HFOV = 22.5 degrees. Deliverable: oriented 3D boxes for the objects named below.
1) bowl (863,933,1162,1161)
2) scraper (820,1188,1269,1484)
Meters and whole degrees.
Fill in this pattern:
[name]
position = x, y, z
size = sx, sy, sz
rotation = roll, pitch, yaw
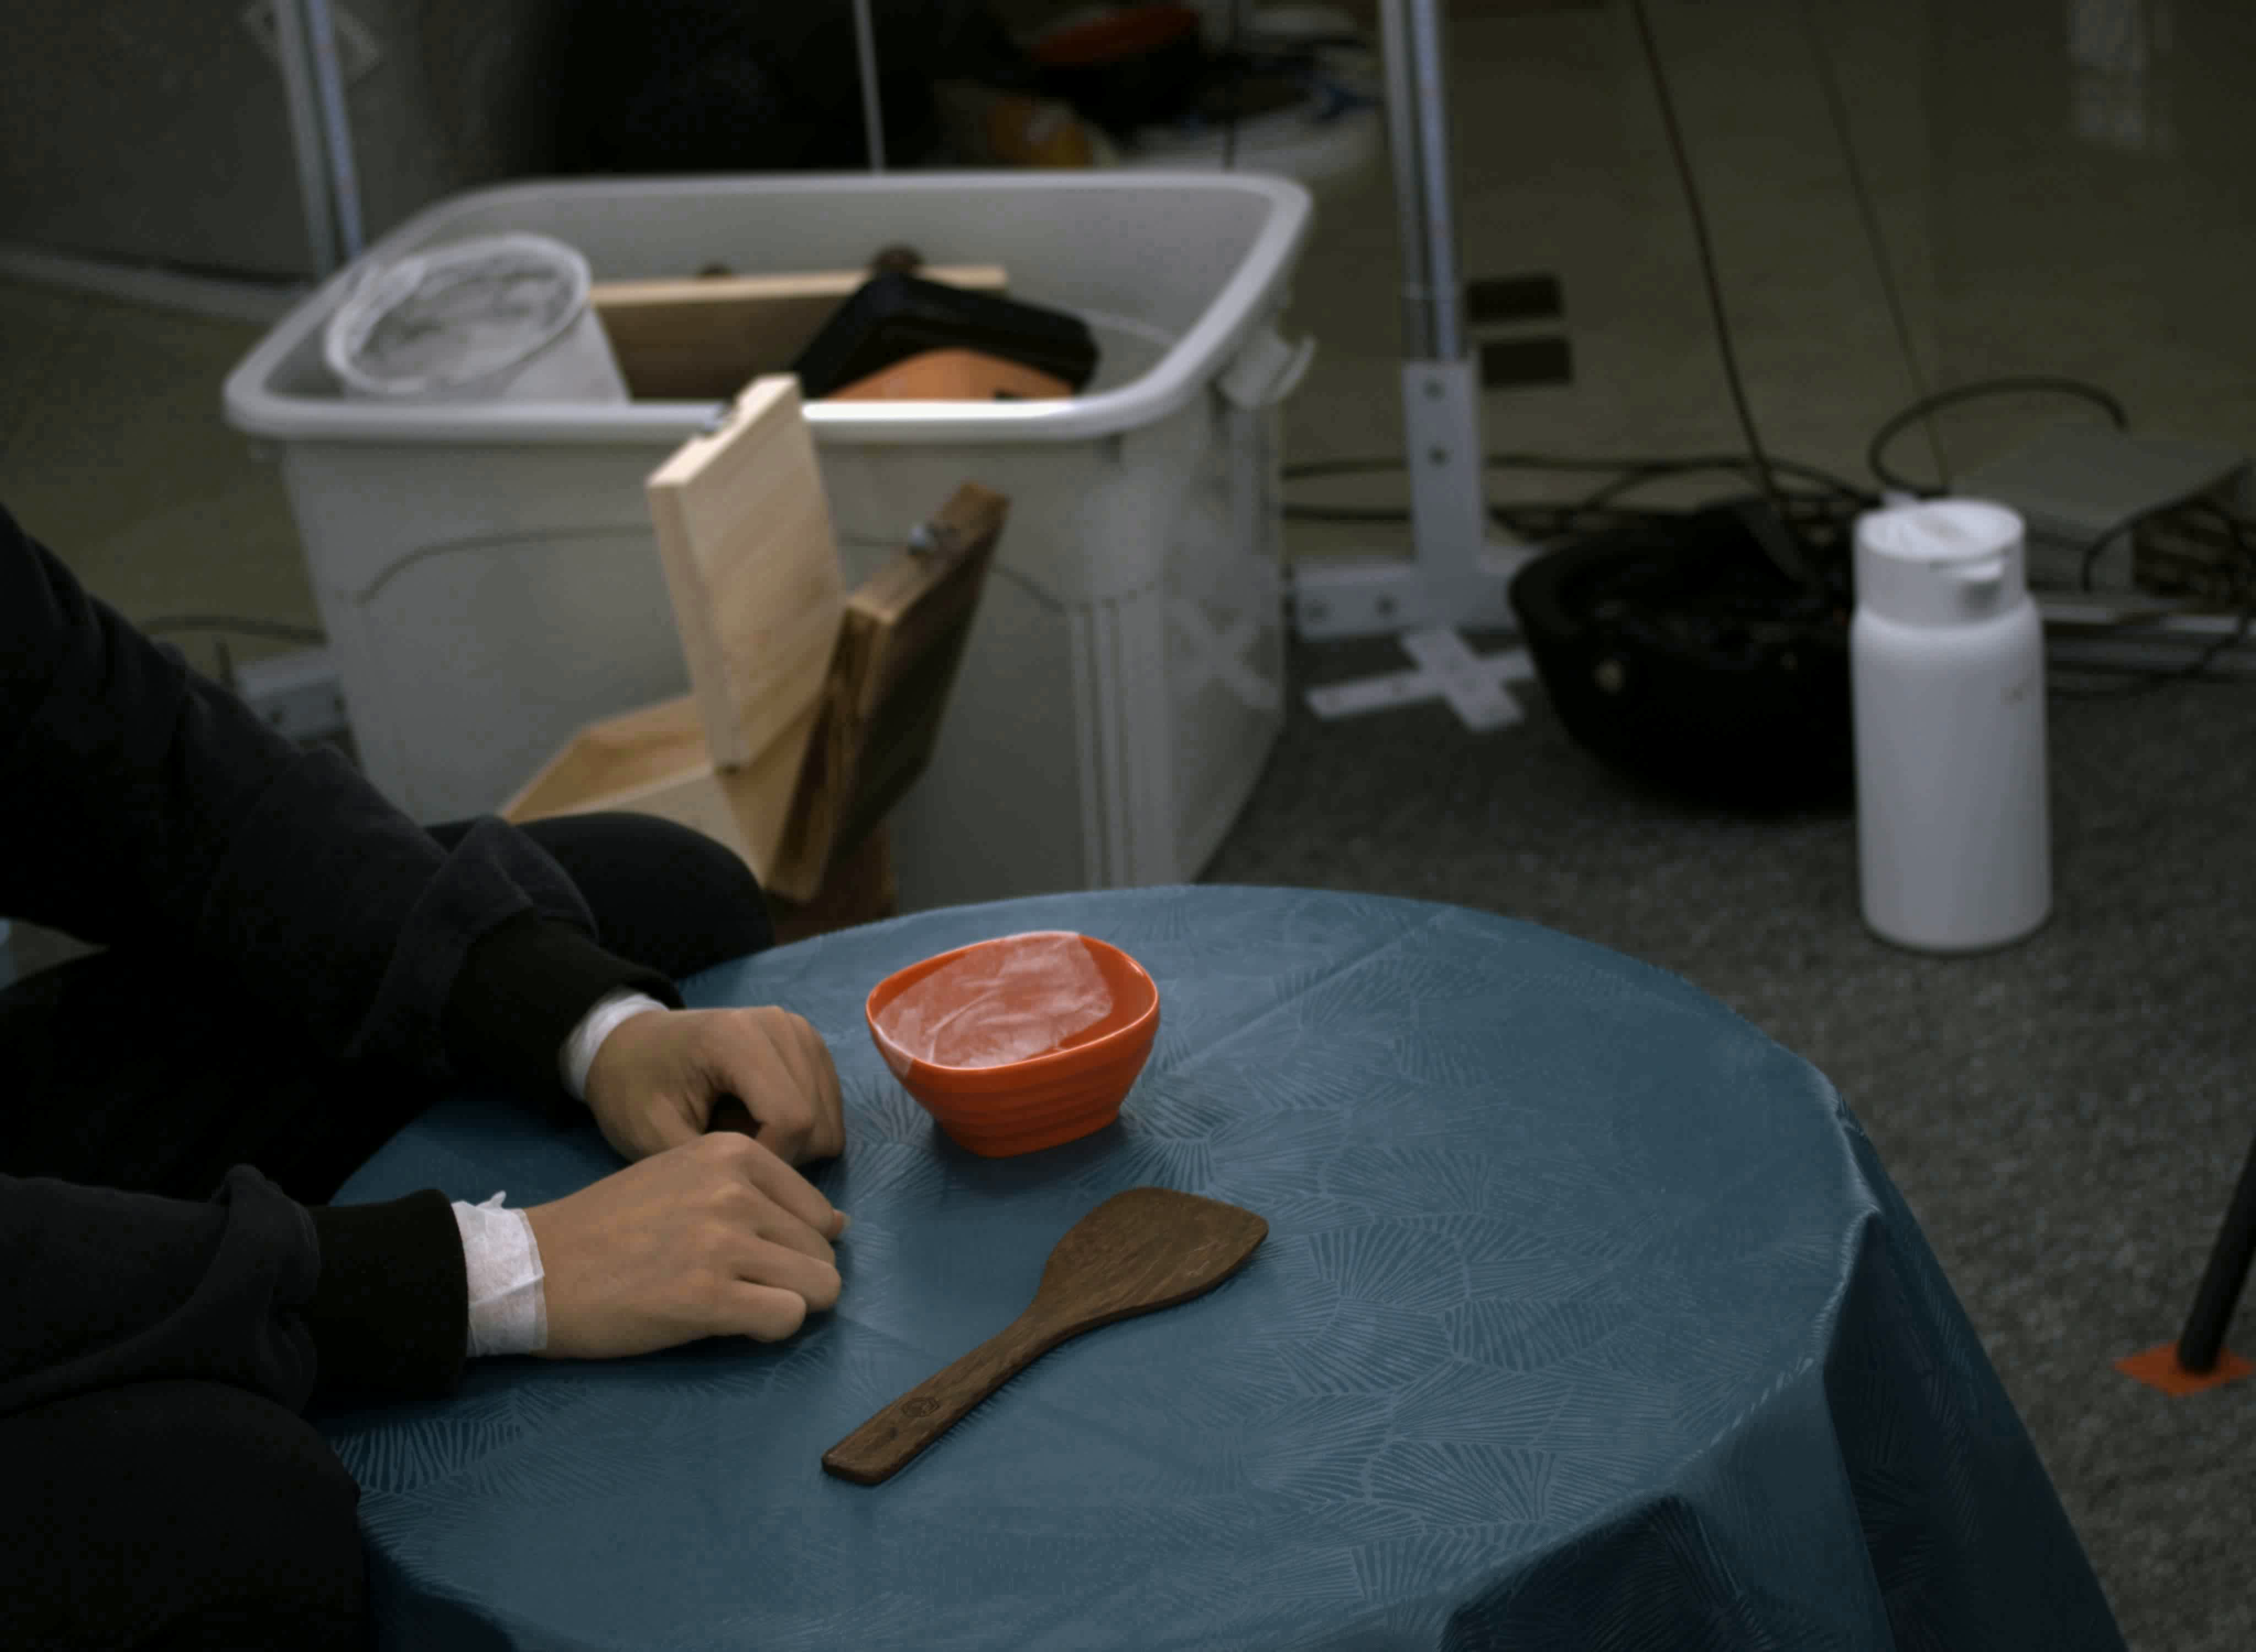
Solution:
[bowl]
position = -0.044, 0.091, 2.208
size = 0.119, 0.052, 0.117
rotation = -3, 27, 2
[scraper]
position = -0.036, 0.185, 2.053
size = 0.075, 0.011, 0.209
rotation = 13, 32, 38
